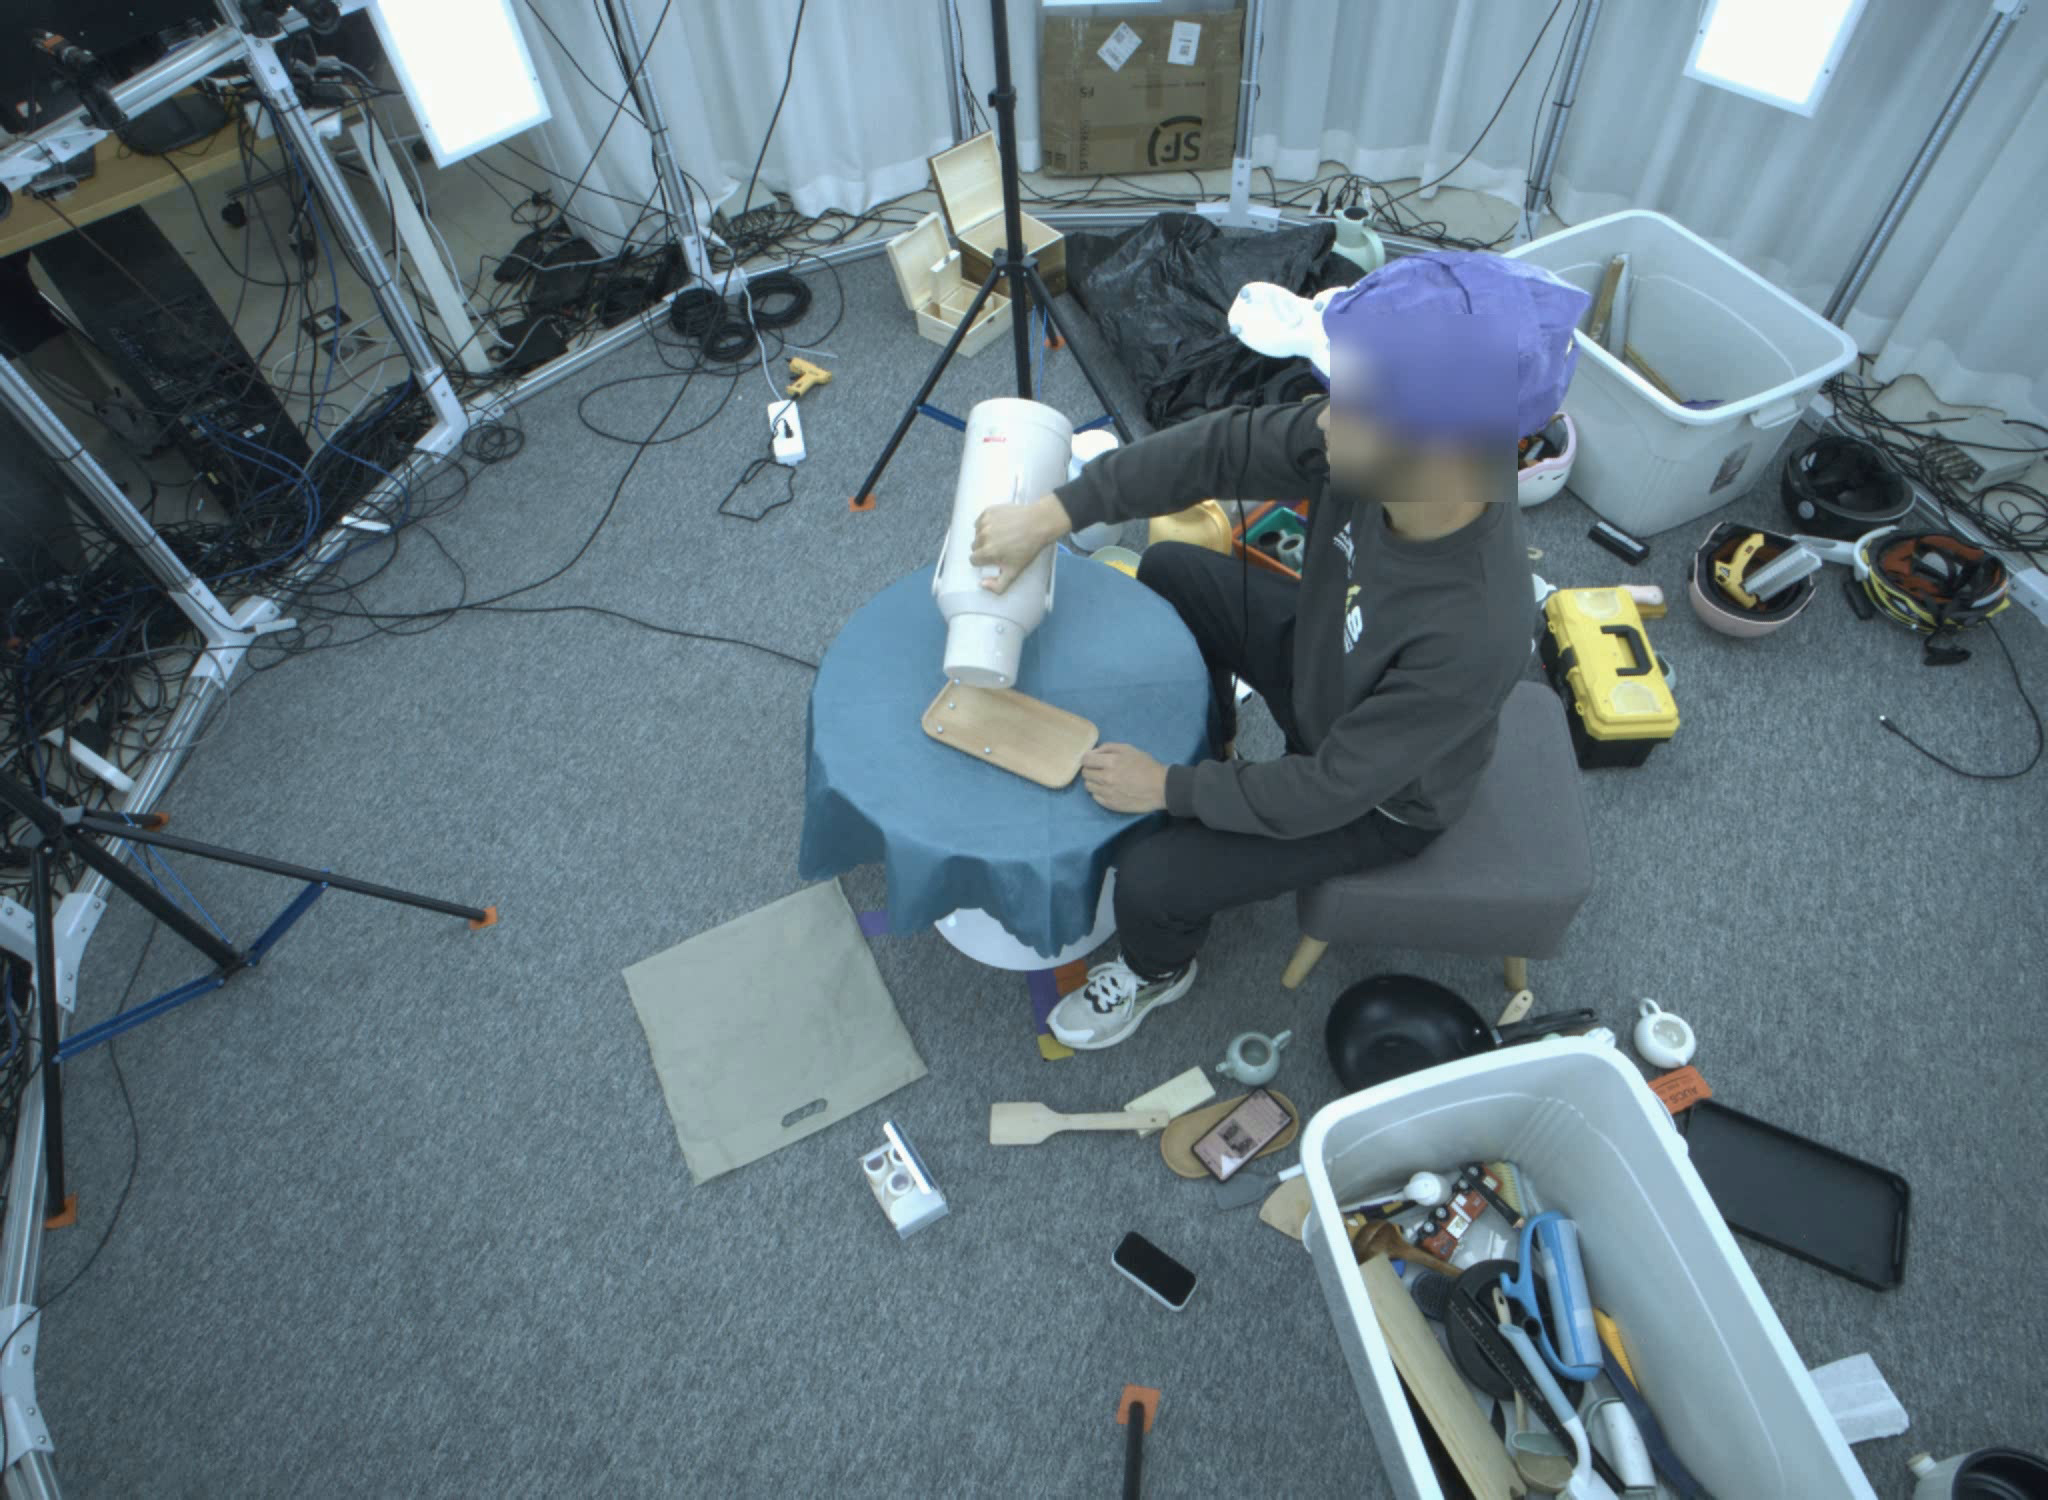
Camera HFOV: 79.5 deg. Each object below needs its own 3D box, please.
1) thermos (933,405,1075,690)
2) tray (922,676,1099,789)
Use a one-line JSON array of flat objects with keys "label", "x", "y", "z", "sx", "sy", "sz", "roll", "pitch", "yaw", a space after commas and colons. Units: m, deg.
[{"label": "thermos", "x": -0.031, "y": -0.298, "z": 1.768, "sx": 0.175, "sy": 0.208, "sz": 0.405, "roll": 10, "pitch": 77, "yaw": 1}, {"label": "tray", "x": -0.020, "y": -0.029, "z": 1.797, "sx": 0.247, "sy": 0.023, "sz": 0.131, "roll": 24, "pitch": 61, "yaw": 17}]
